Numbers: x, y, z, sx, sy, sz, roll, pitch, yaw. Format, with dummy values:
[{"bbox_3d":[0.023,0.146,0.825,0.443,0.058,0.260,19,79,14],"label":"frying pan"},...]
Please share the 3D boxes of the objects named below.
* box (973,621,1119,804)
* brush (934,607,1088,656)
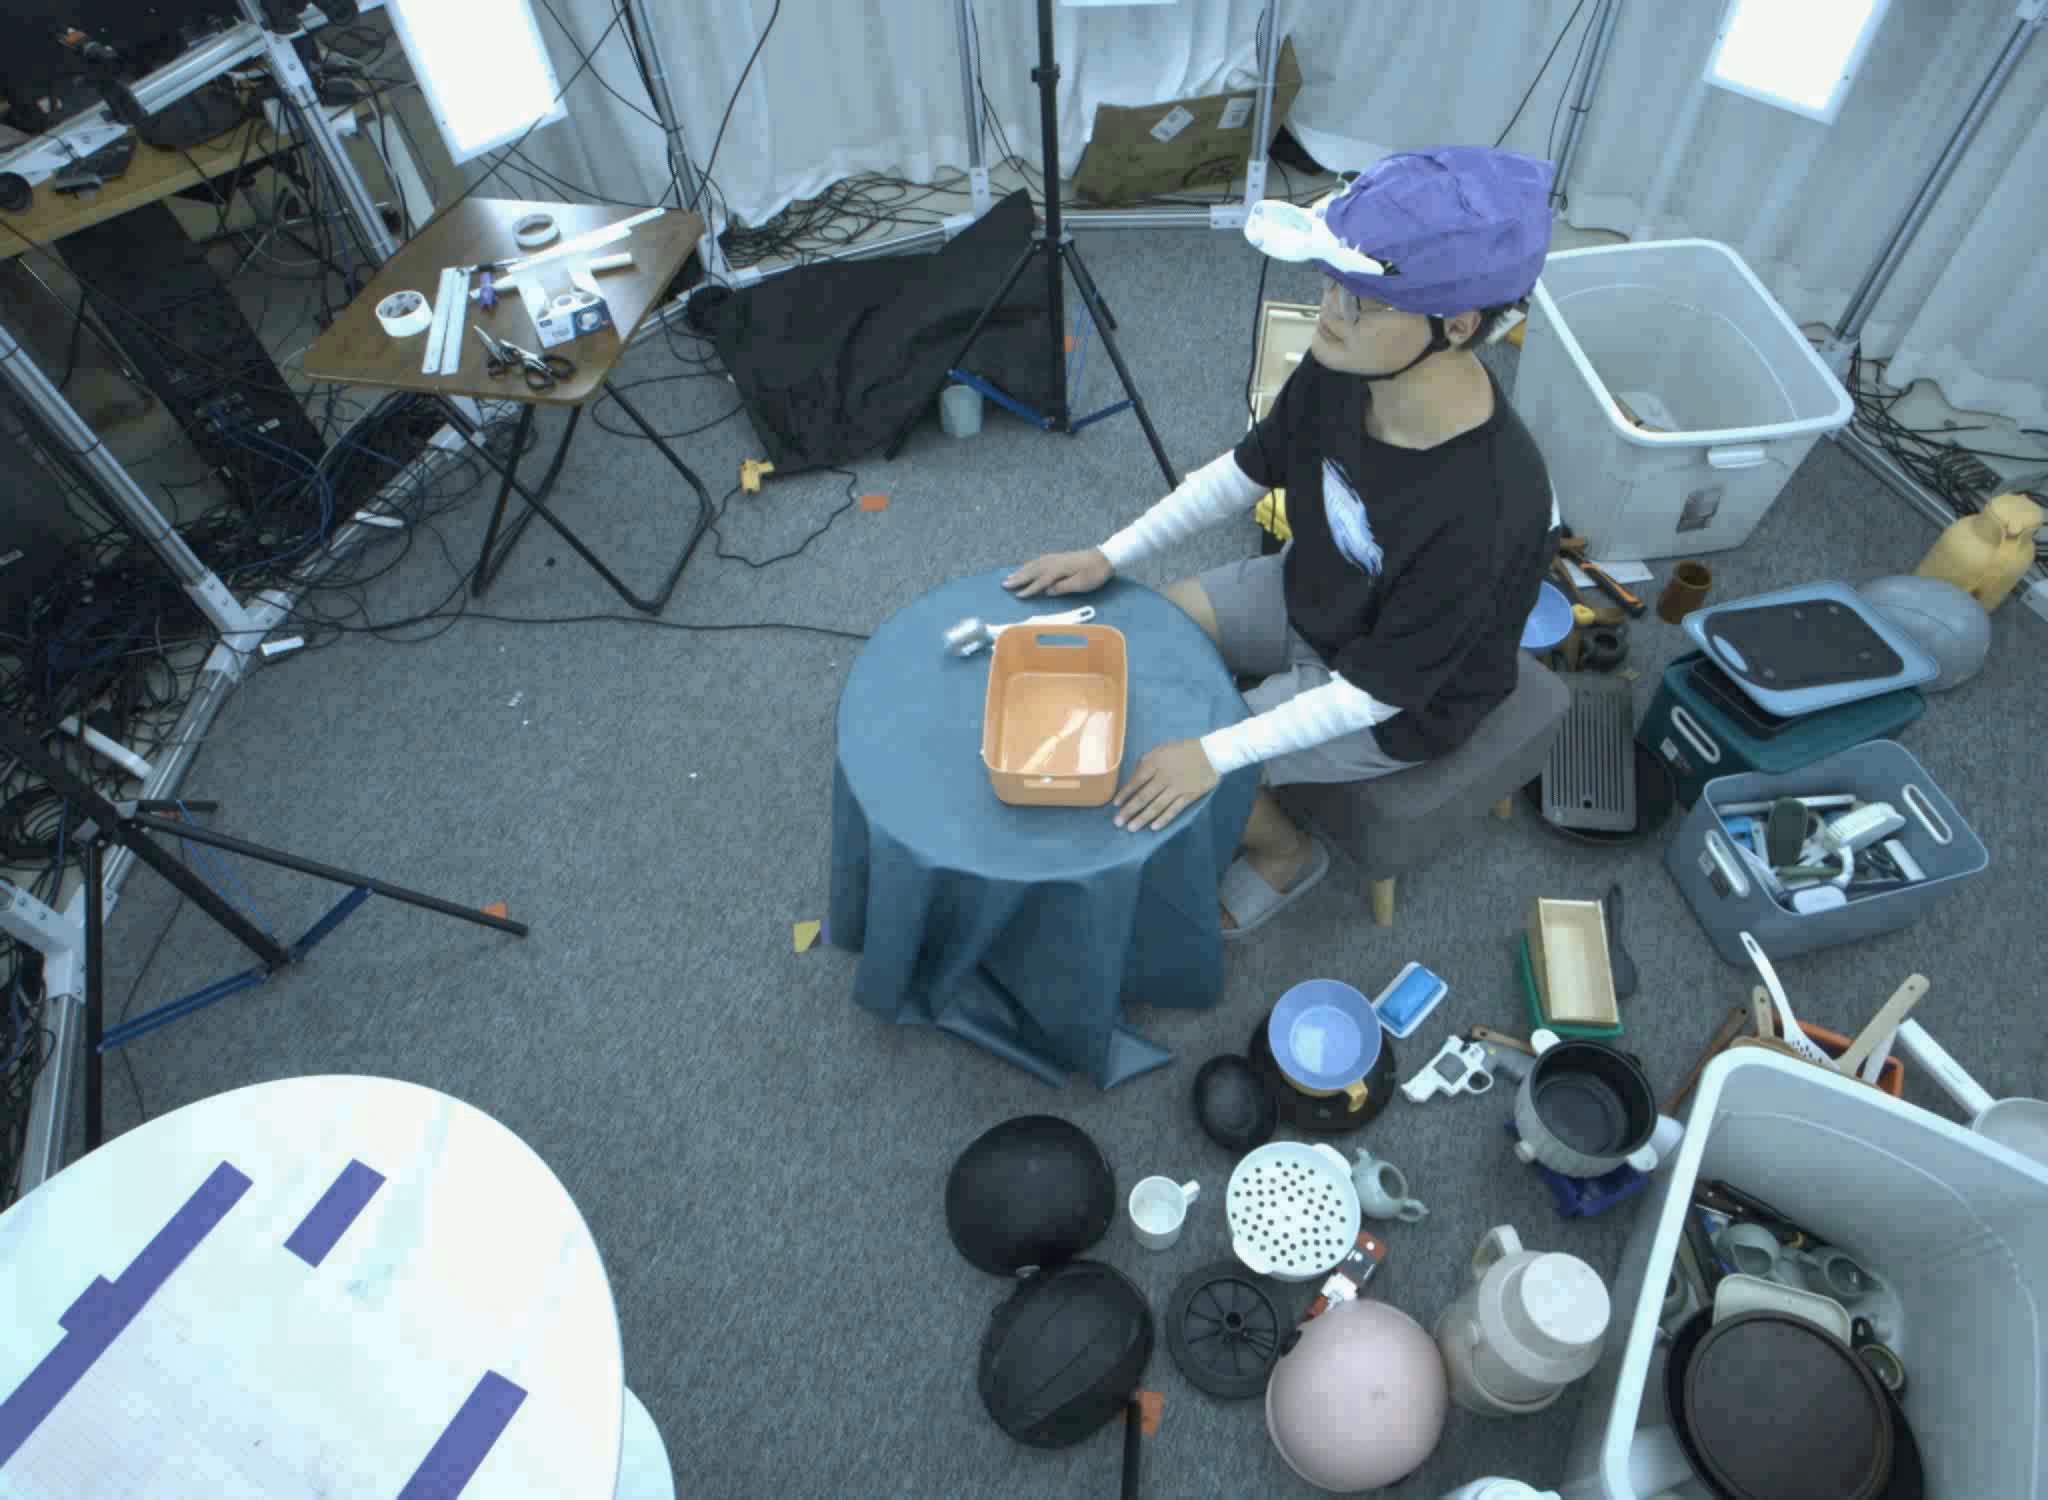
[{"bbox_3d":[0.036,-0.050,1.746,0.199,0.104,0.270,0,55,4],"label":"box"},{"bbox_3d":[-0.019,-0.197,1.890,0.245,0.051,0.034,-15,53,-8],"label":"brush"}]
